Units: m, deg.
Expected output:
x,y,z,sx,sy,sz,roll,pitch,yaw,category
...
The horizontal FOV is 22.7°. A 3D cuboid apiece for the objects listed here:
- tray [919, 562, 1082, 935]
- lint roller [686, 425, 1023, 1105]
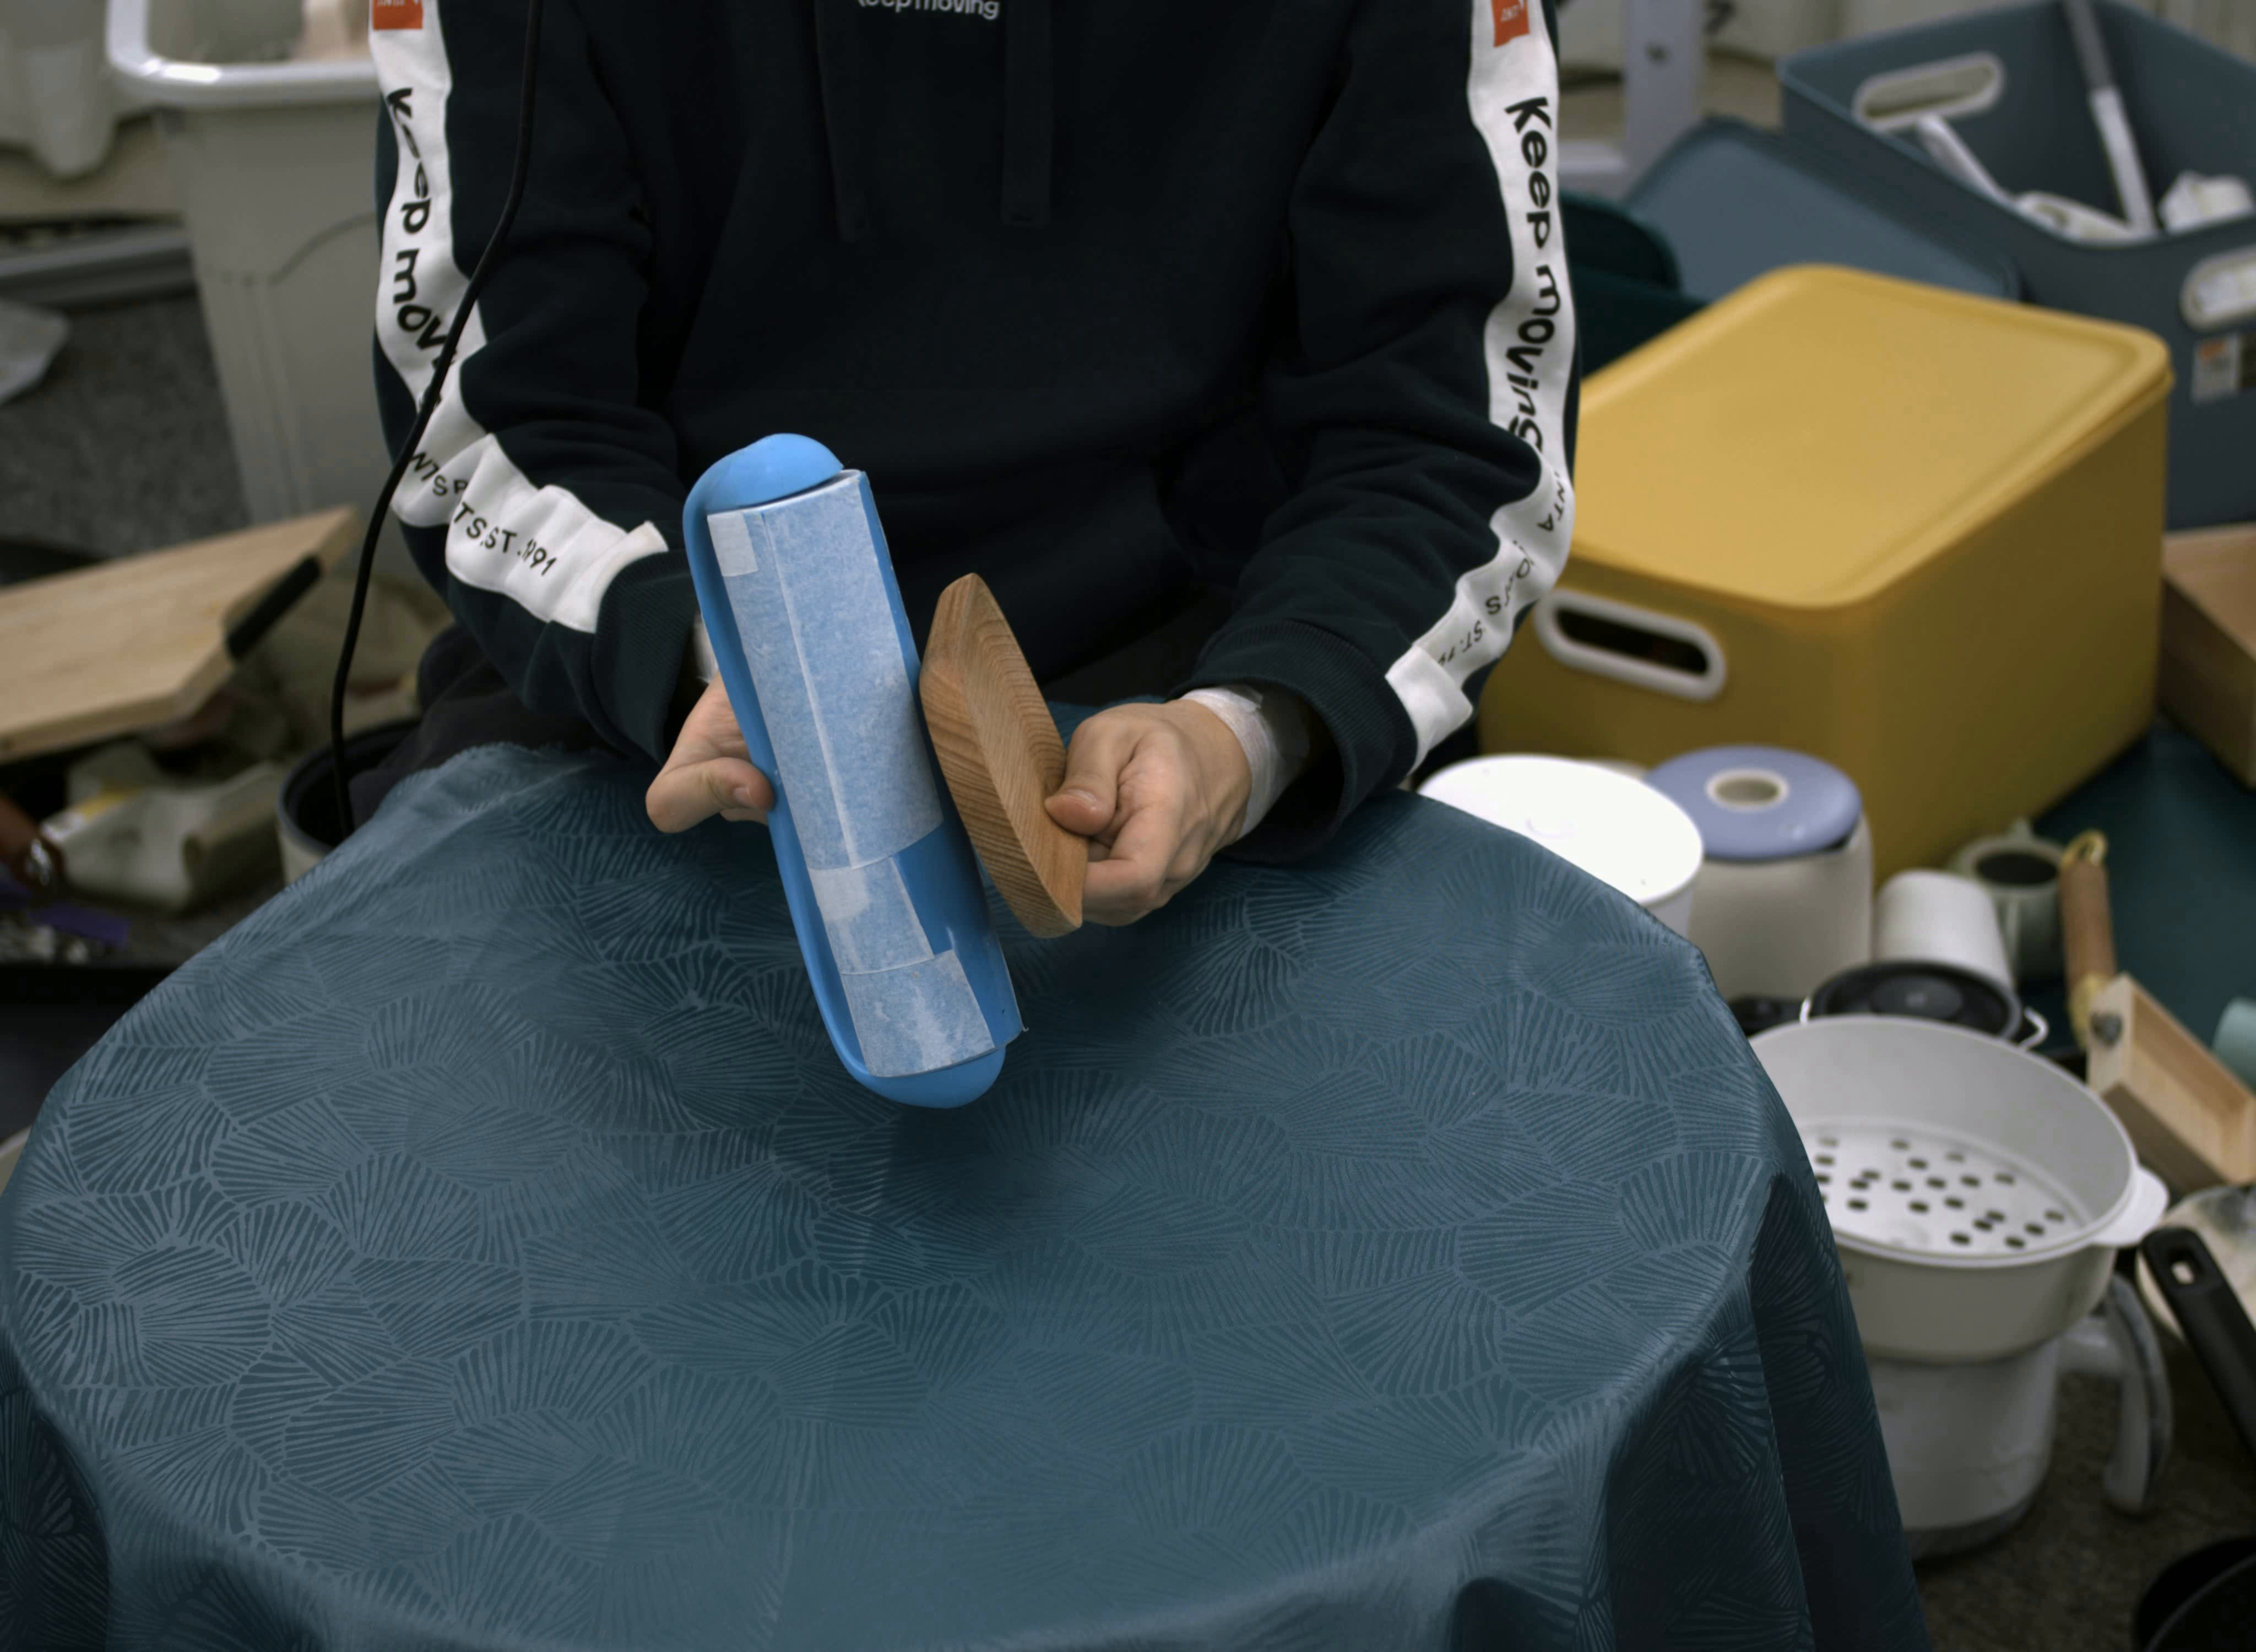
x,y,z,sx,sy,sz,roll,pitch,yaw,category
-0.043,-0.027,1.885,0.020,0.101,0.233,-22,12,4,tray
-0.094,-0.024,1.884,0.068,0.229,0.180,-18,6,-6,lint roller
